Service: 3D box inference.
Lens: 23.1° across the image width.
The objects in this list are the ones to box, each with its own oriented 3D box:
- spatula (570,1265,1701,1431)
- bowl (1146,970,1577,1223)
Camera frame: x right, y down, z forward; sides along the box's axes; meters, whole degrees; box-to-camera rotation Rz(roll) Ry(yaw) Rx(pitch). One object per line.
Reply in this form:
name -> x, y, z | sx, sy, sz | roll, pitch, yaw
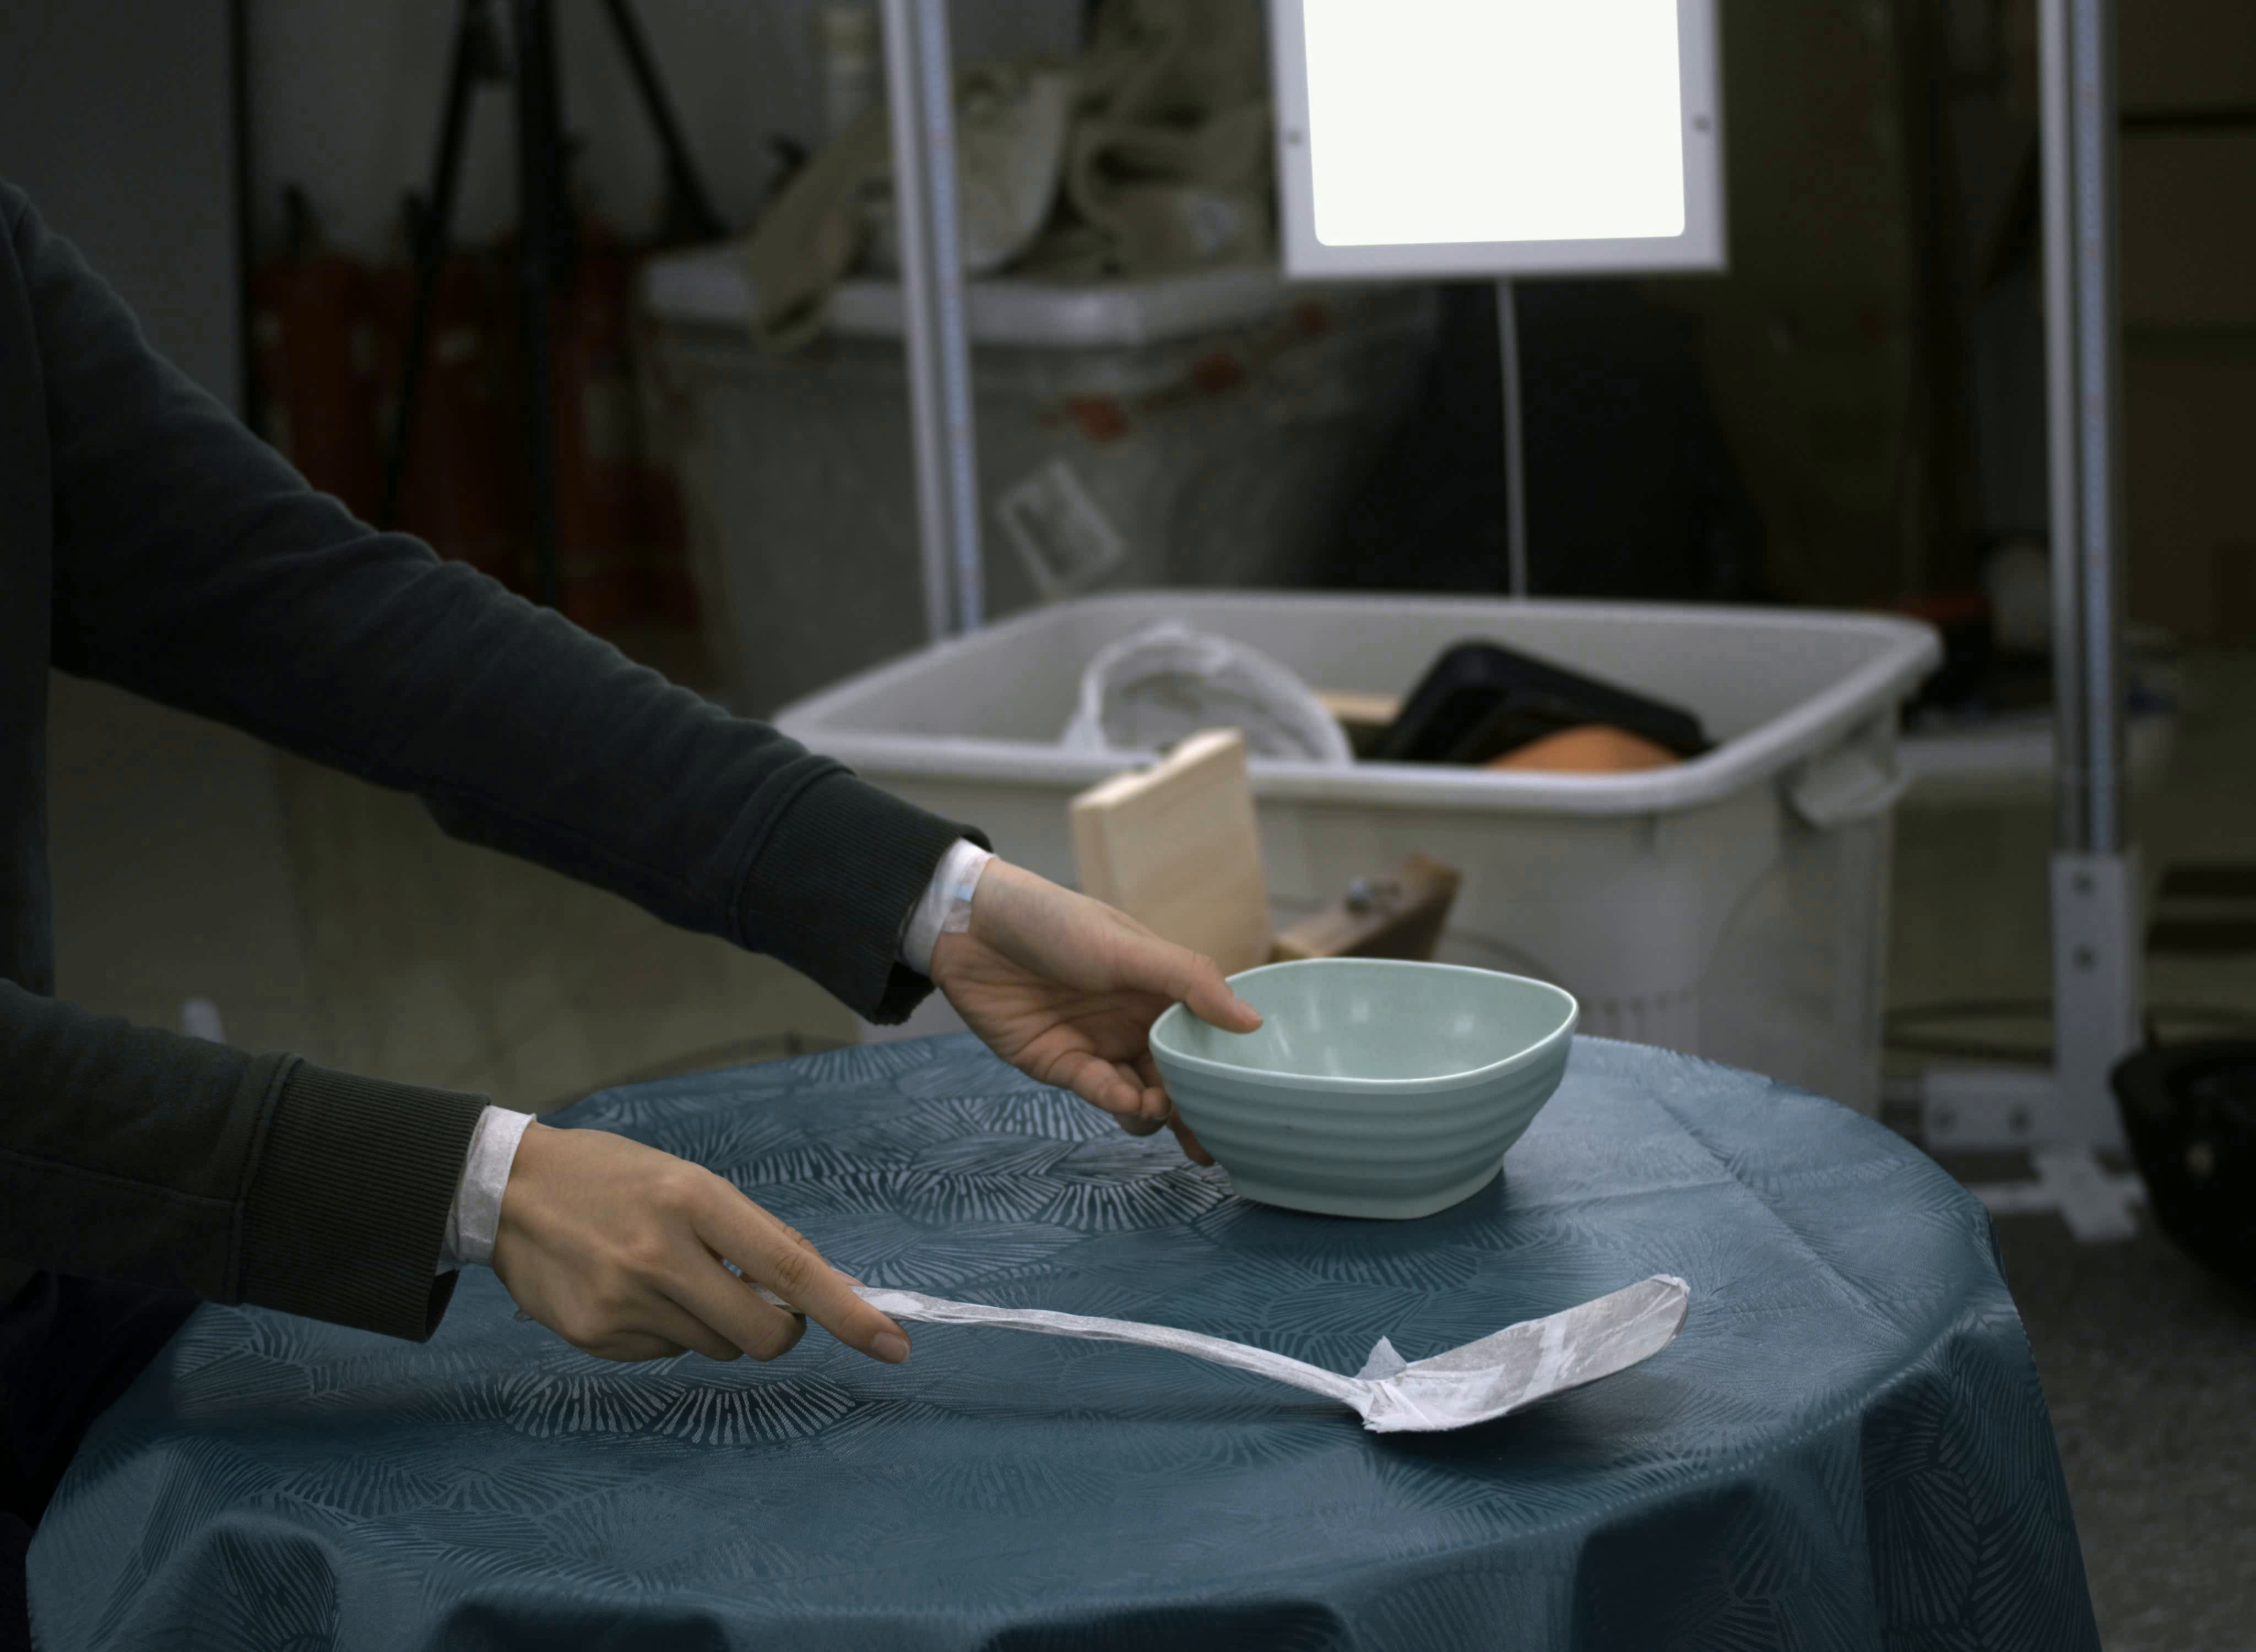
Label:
spatula -> -0.007, 0.149, 1.688 | 0.369, 0.045, 0.097 | 5, 17, 18
bowl -> 0.080, 0.095, 1.877 | 0.151, 0.059, 0.151 | -1, 12, -1
